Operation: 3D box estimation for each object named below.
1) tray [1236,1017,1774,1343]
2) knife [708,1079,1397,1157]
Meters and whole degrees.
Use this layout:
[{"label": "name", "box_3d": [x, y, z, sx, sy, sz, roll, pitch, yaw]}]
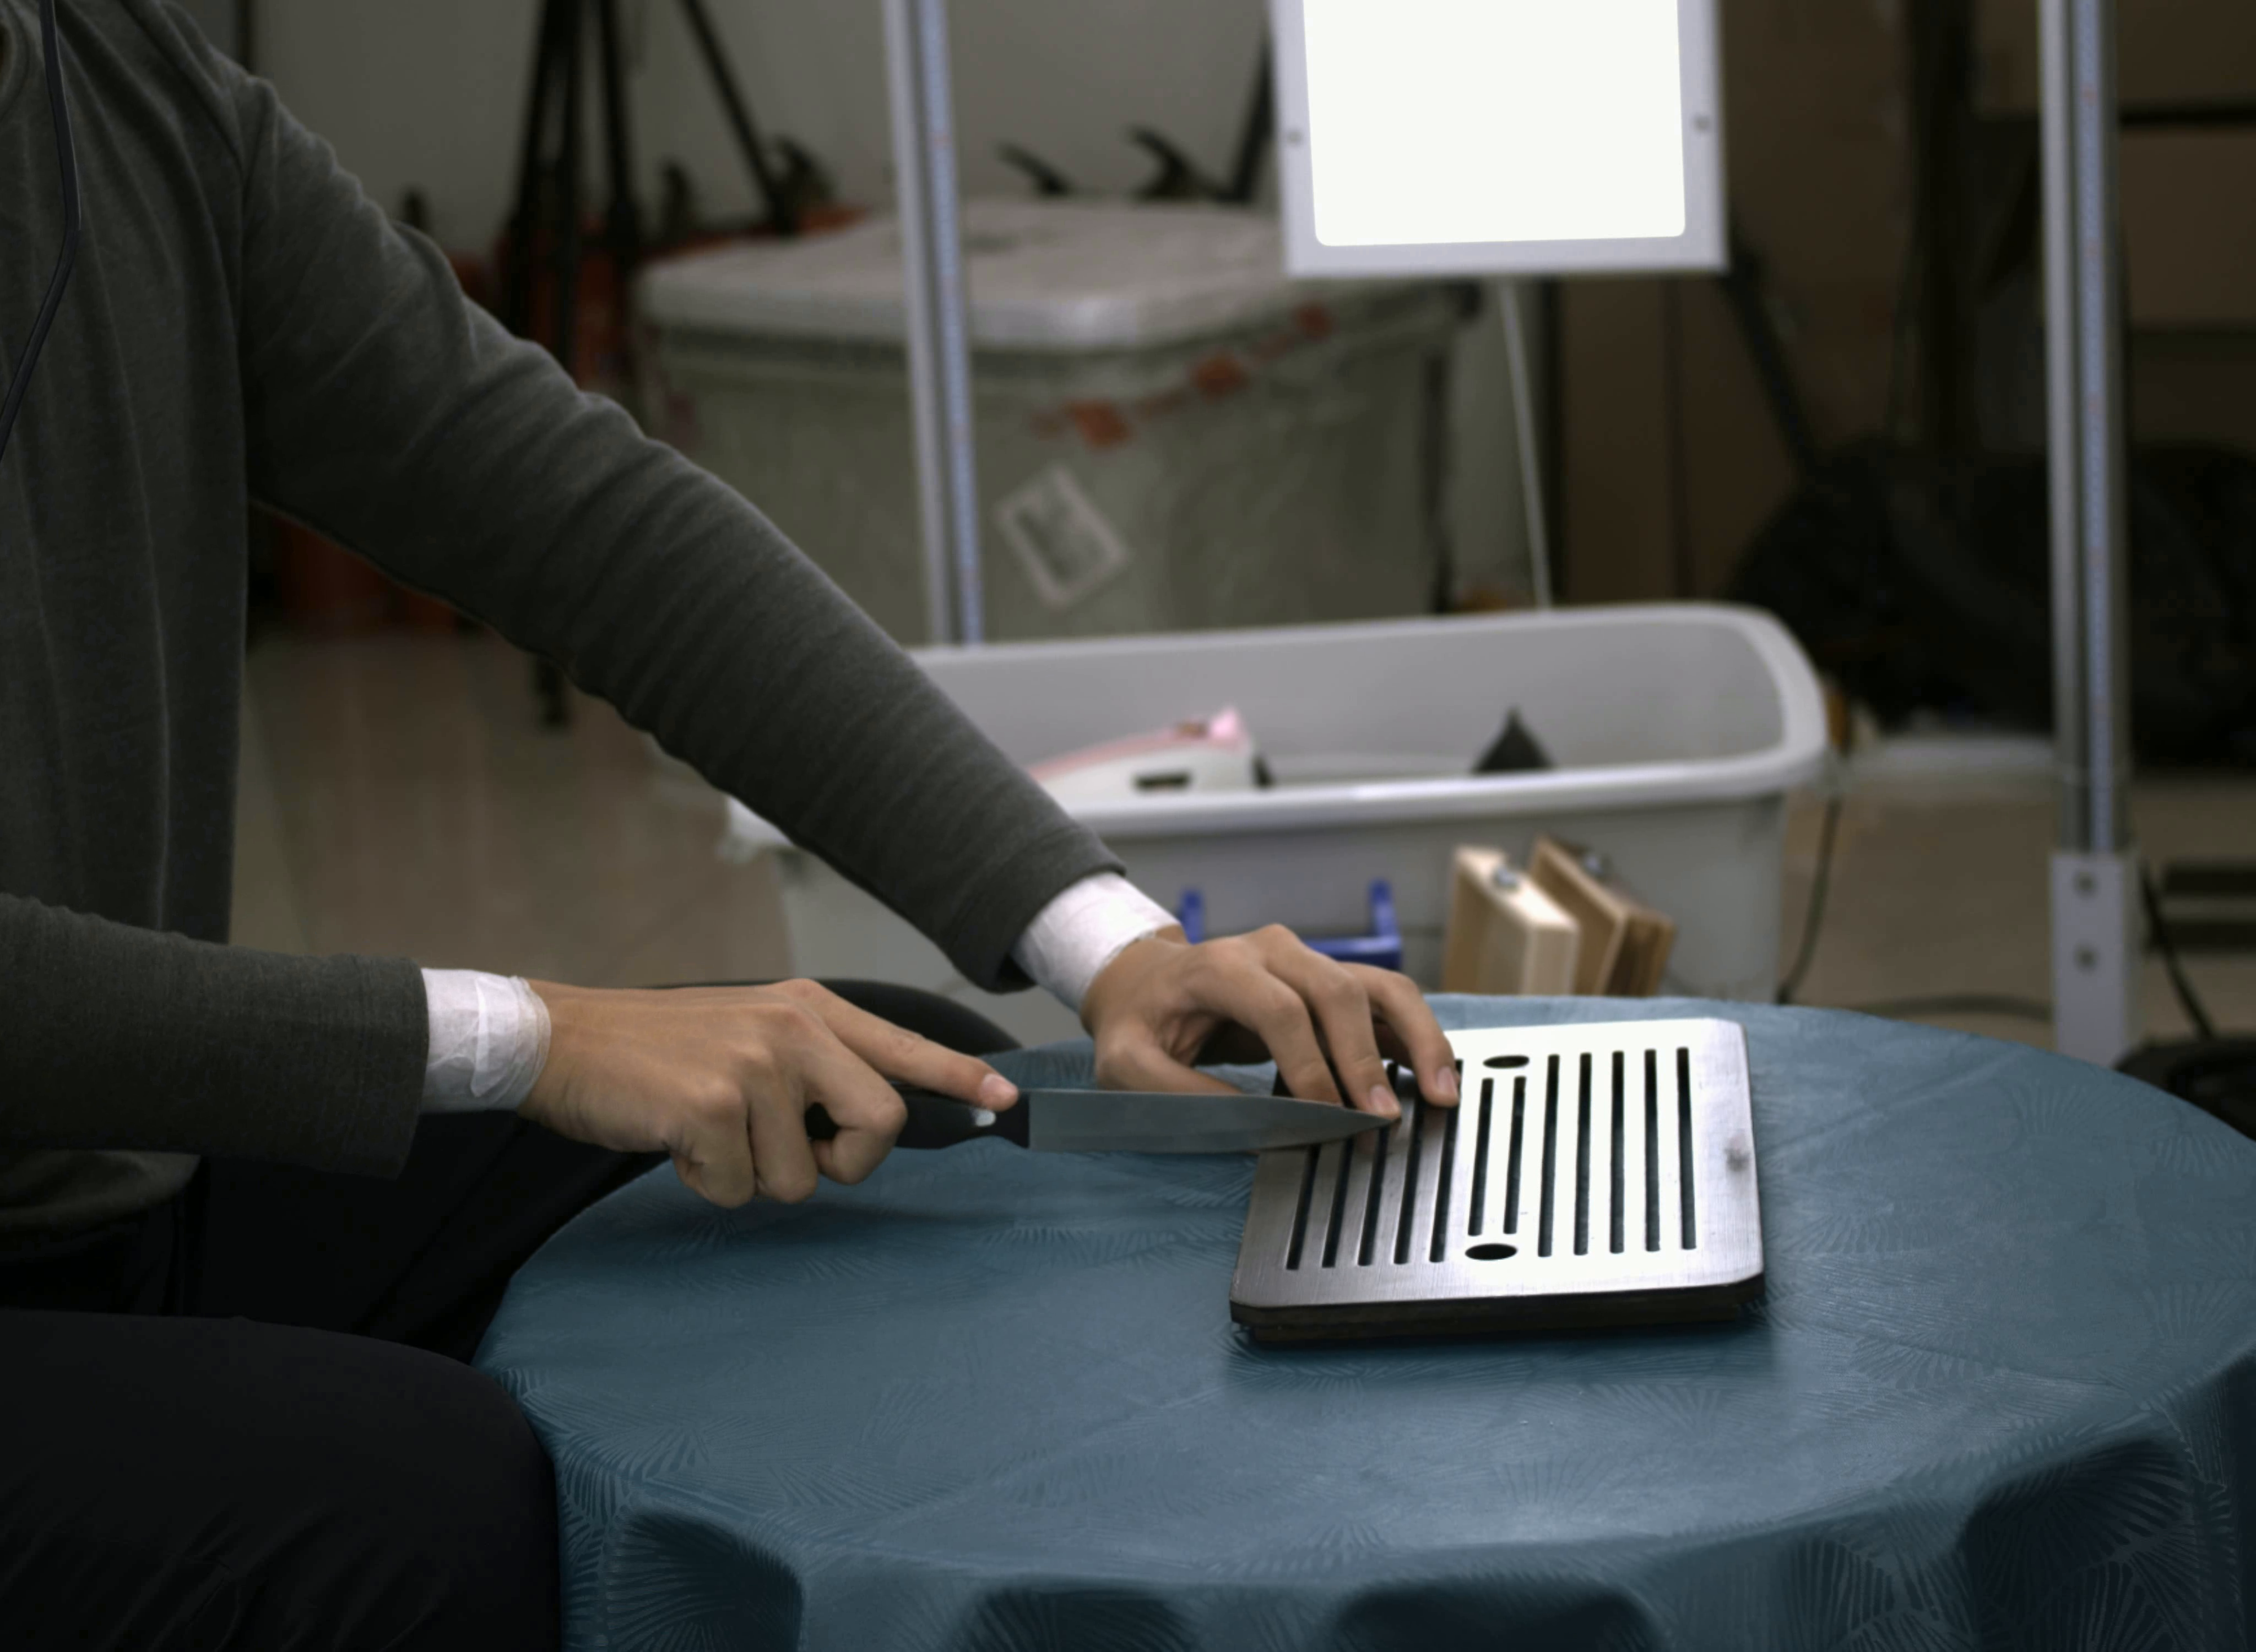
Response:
[{"label": "tray", "box_3d": [0.131, 0.117, 1.856, 0.171, 0.019, 0.303, -4, 13, 7]}, {"label": "knife", "box_3d": [-0.026, 0.099, 1.890, 0.238, 0.024, 0.016, 2, 7, 6]}]
